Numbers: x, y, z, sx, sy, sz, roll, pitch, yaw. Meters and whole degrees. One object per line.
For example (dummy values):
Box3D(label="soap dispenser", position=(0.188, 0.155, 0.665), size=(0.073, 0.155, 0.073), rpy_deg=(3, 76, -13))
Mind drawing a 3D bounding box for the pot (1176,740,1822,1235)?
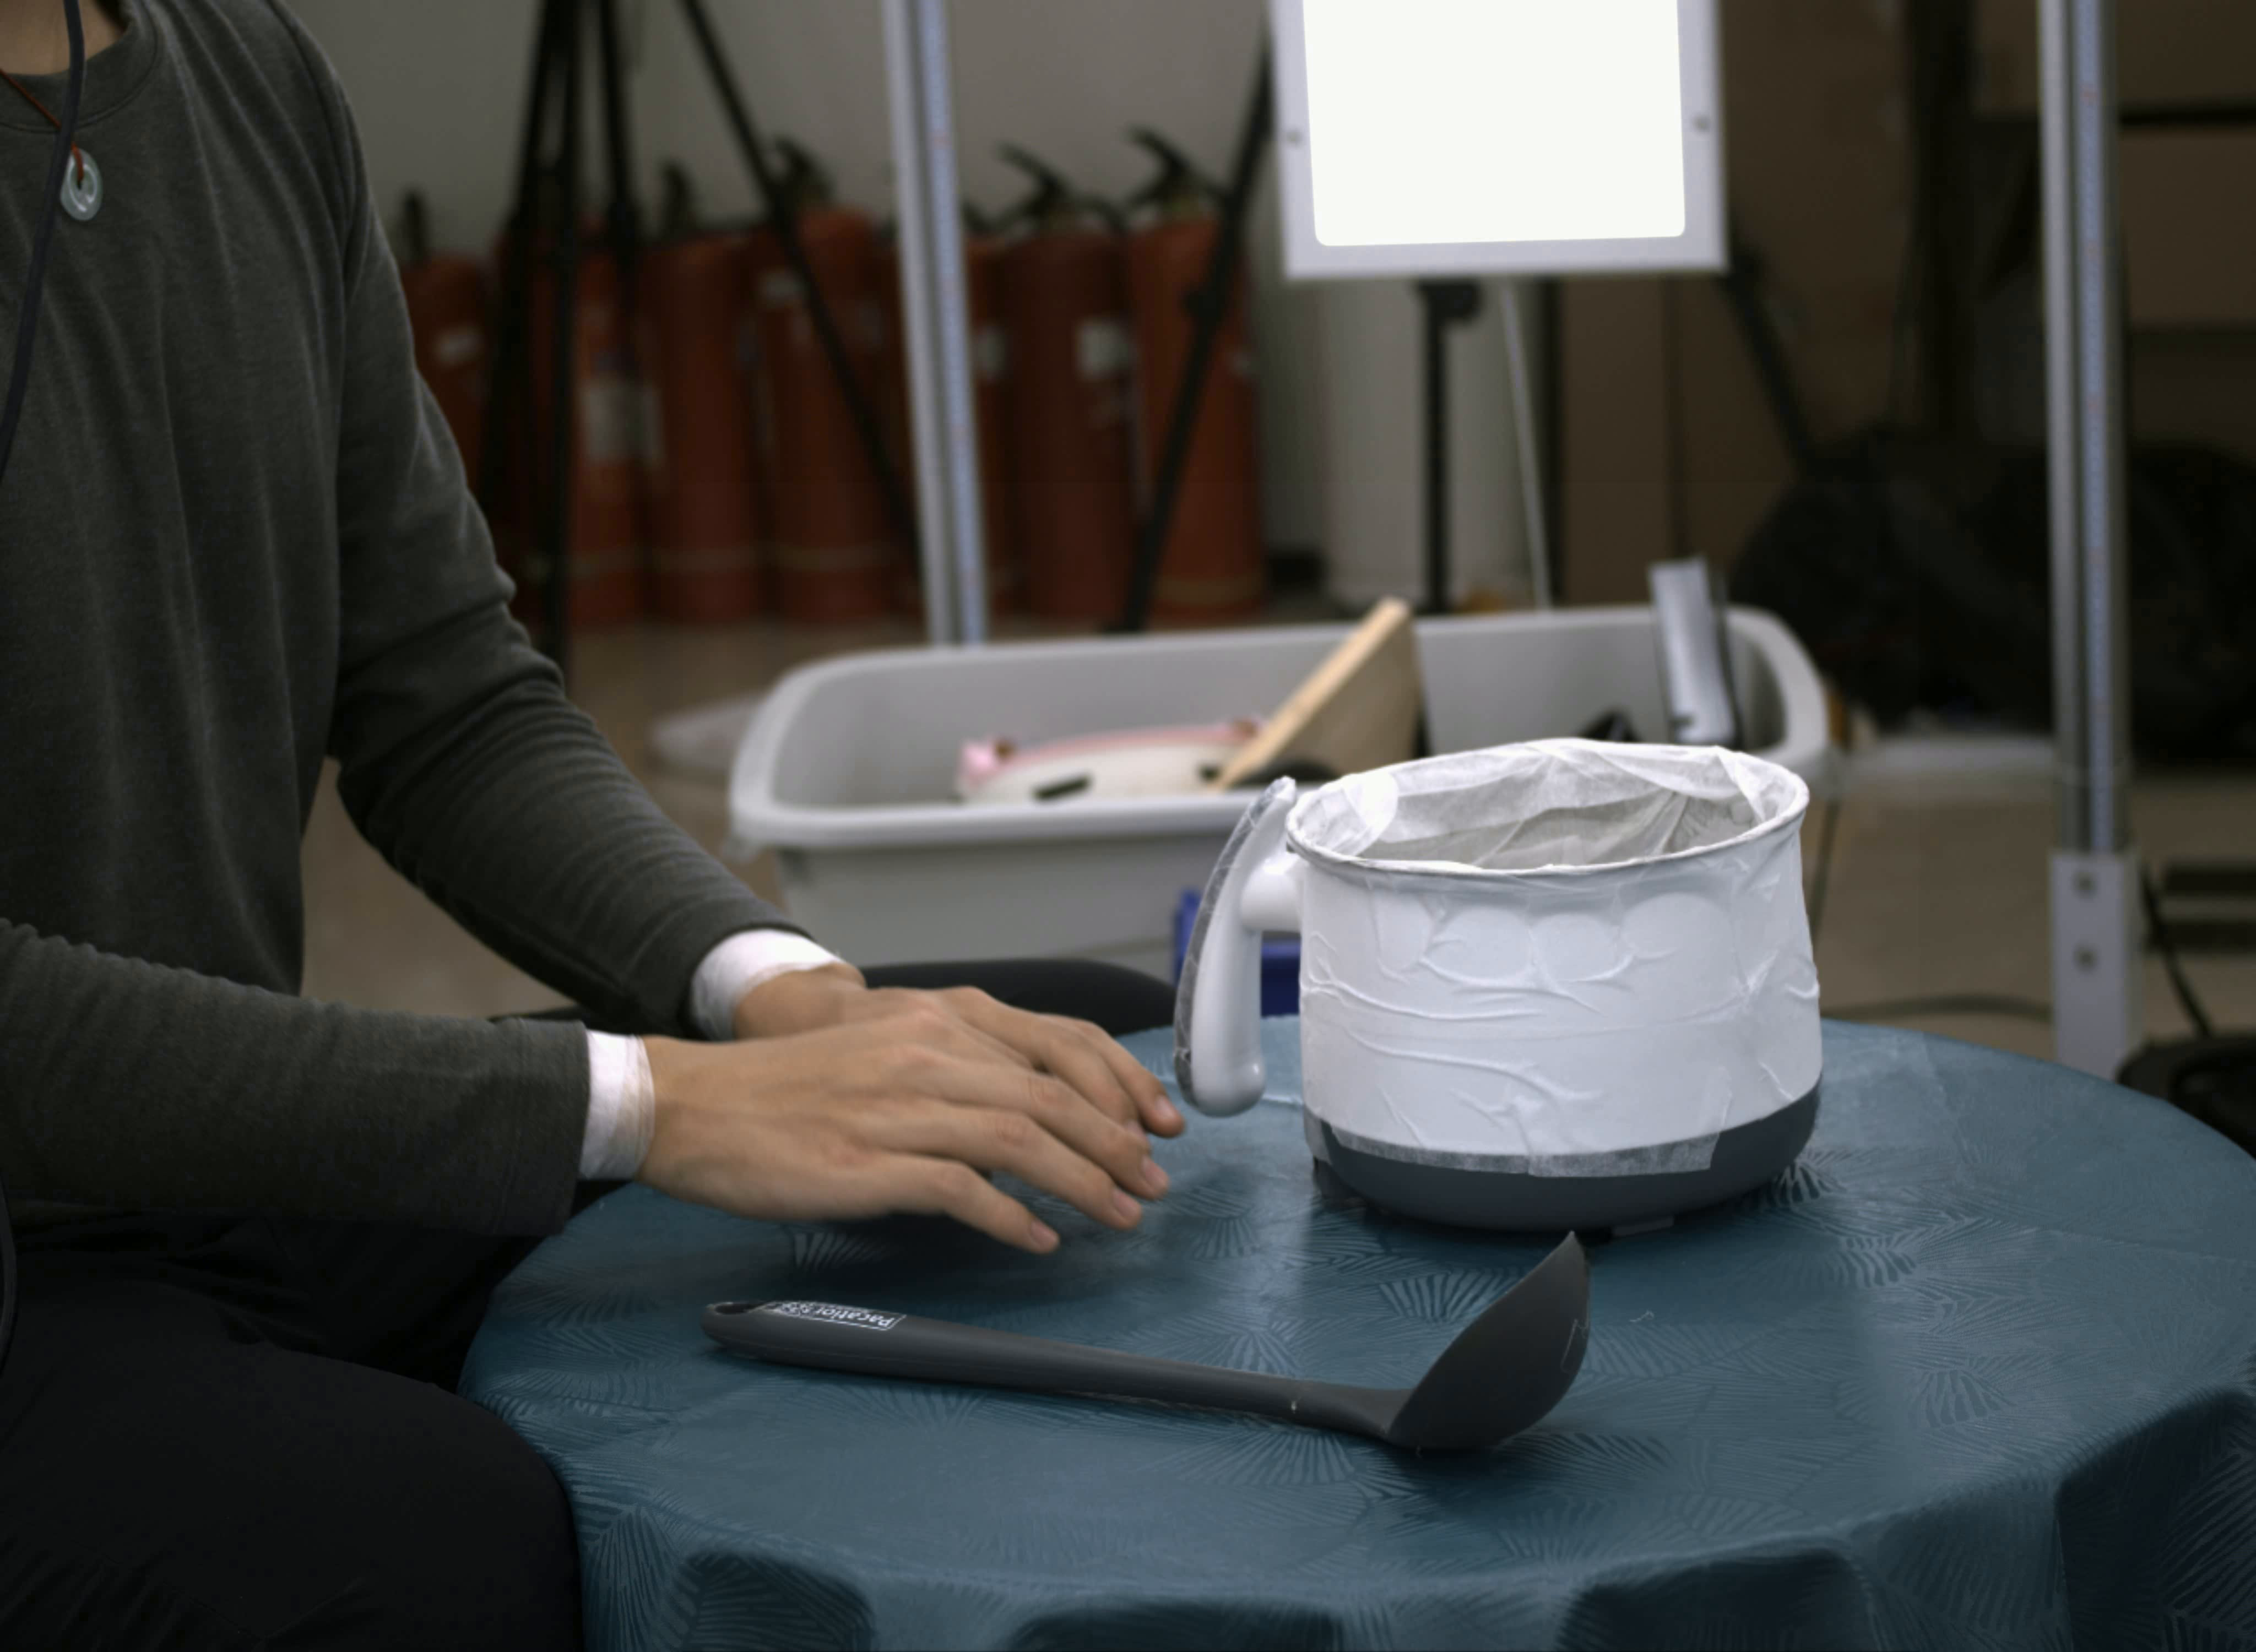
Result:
Box3D(label="pot", position=(0.121, 0.052, 1.873), size=(0.238, 0.137, 0.175), rpy_deg=(3, 15, 28))

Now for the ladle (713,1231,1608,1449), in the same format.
Box3D(label="ladle", position=(0.001, 0.147, 1.685), size=(0.320, 0.064, 0.084), rpy_deg=(4, 15, 33))
